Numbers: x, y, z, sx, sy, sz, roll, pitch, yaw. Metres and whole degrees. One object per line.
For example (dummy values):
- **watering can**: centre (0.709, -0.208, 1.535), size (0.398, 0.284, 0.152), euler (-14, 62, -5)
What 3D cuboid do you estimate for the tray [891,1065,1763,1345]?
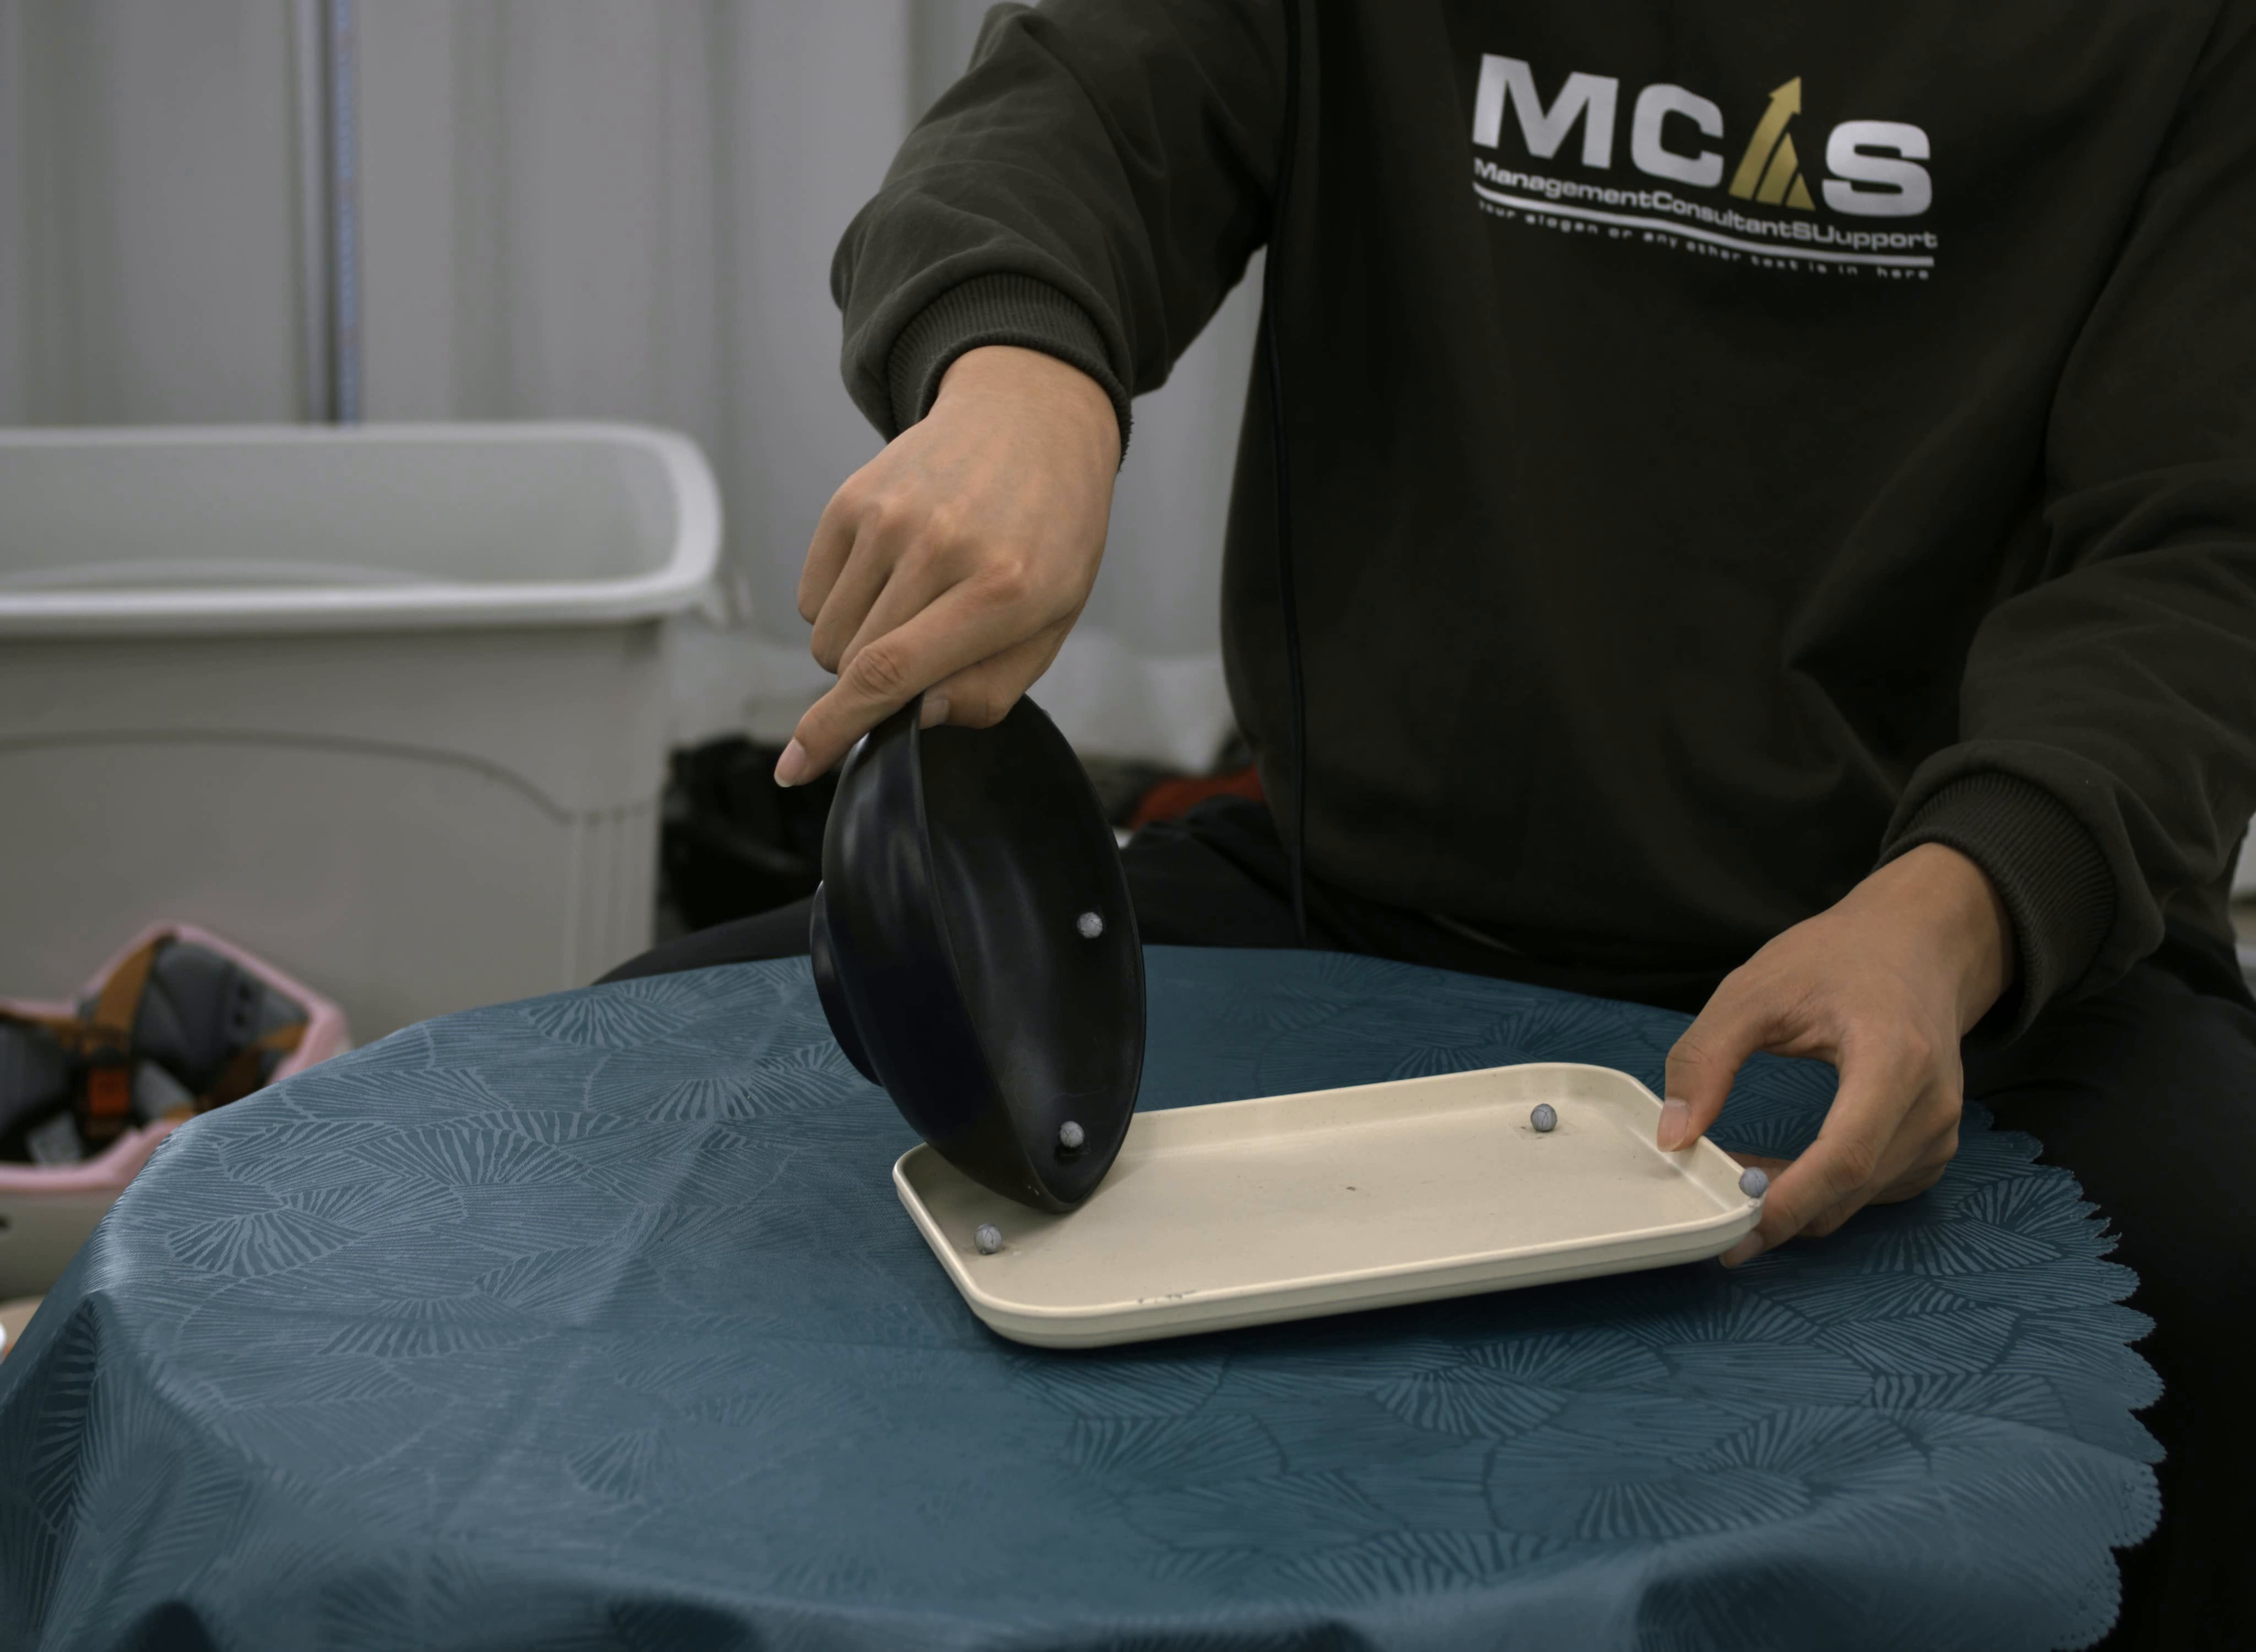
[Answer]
- **tray**: centre (0.057, 0.113, 1.575), size (0.240, 0.017, 0.170), euler (-7, 14, -14)

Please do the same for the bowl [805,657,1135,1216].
- **bowl**: centre (-0.054, 0.037, 1.599), size (0.066, 0.171, 0.137), euler (-13, 6, 25)
